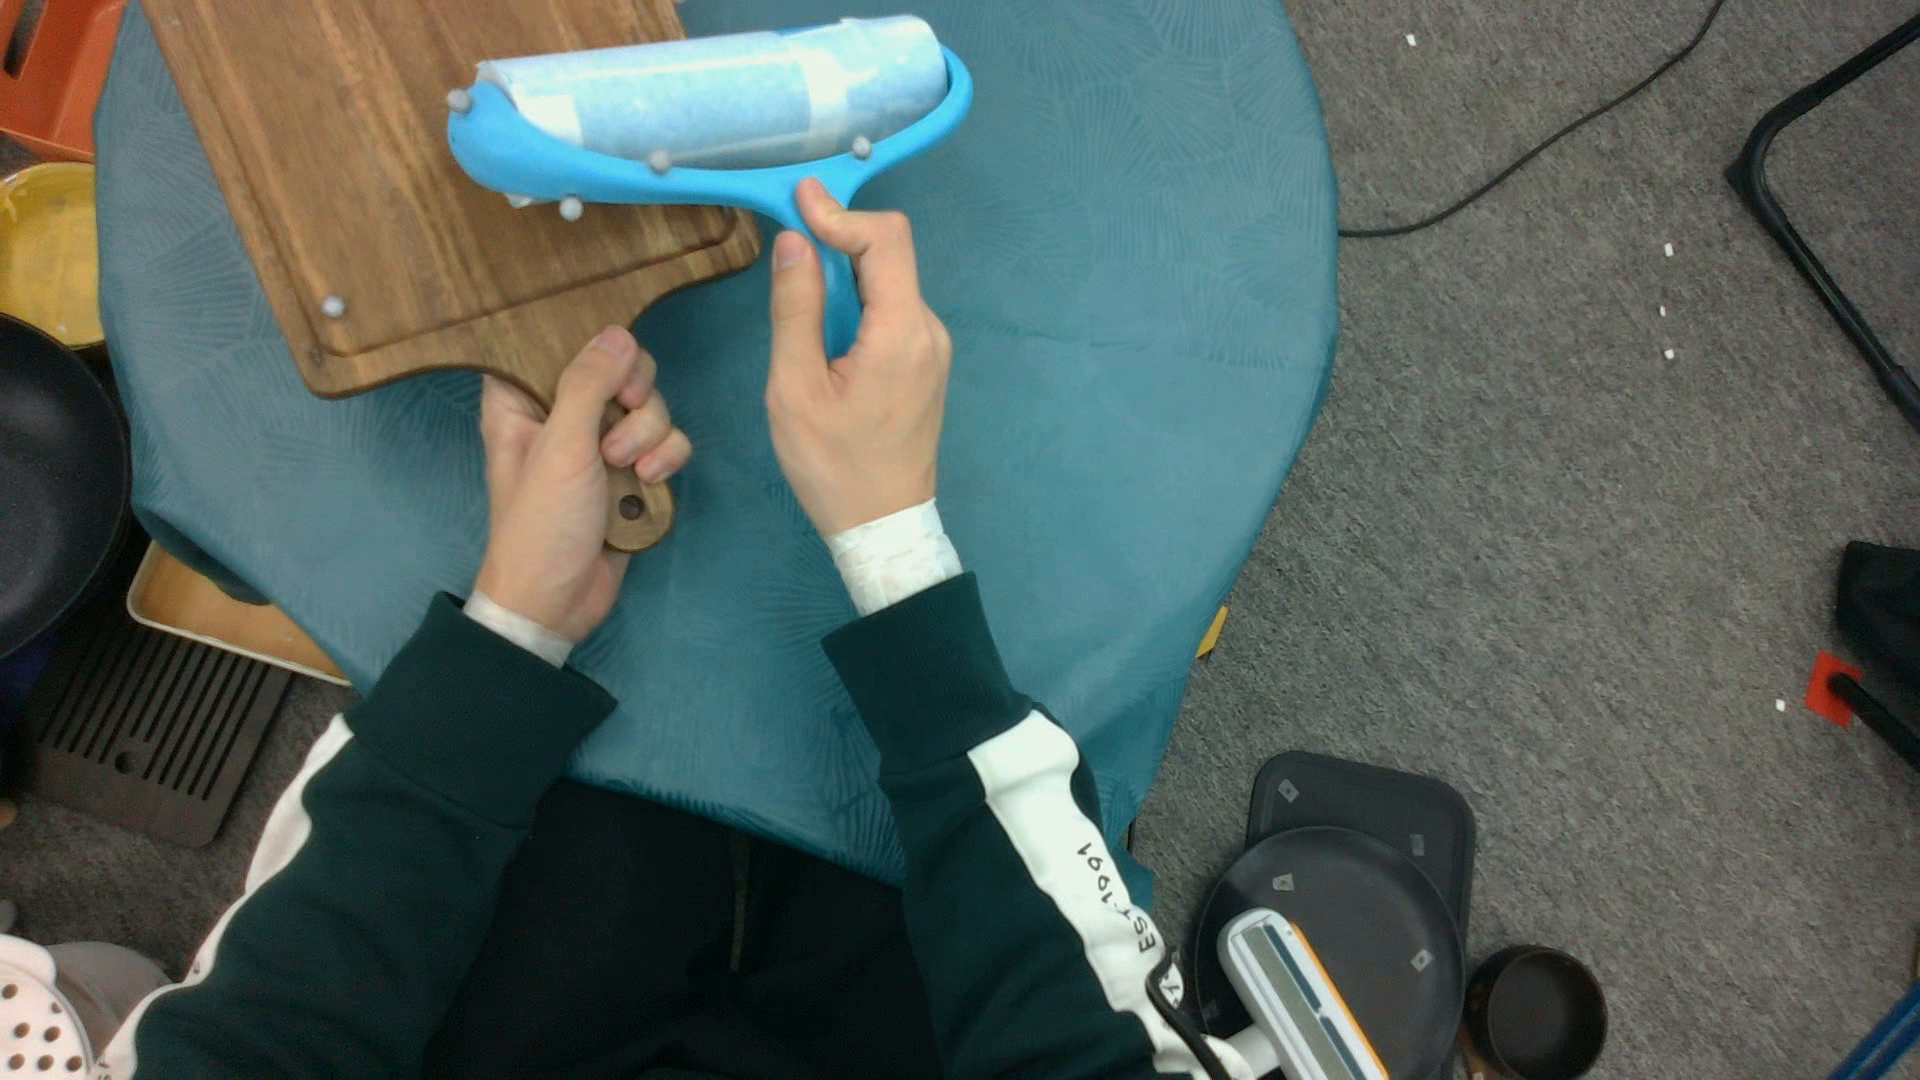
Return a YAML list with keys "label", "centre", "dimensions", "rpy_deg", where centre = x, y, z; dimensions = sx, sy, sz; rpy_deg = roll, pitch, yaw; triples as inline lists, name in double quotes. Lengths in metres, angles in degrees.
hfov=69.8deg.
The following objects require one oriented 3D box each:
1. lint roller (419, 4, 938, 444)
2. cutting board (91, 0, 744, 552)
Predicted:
- label: "lint roller"
  centre: [-0.082, -0.131, 0.570]
  dimensions: [0.230, 0.067, 0.180]
  rpy_deg: [-26, 87, -35]
- label: "cutting board"
  centre: [-0.207, -0.156, 0.570]
  dimensions: [0.201, 0.023, 0.352]
  rpy_deg: [-26, 99, -22]
